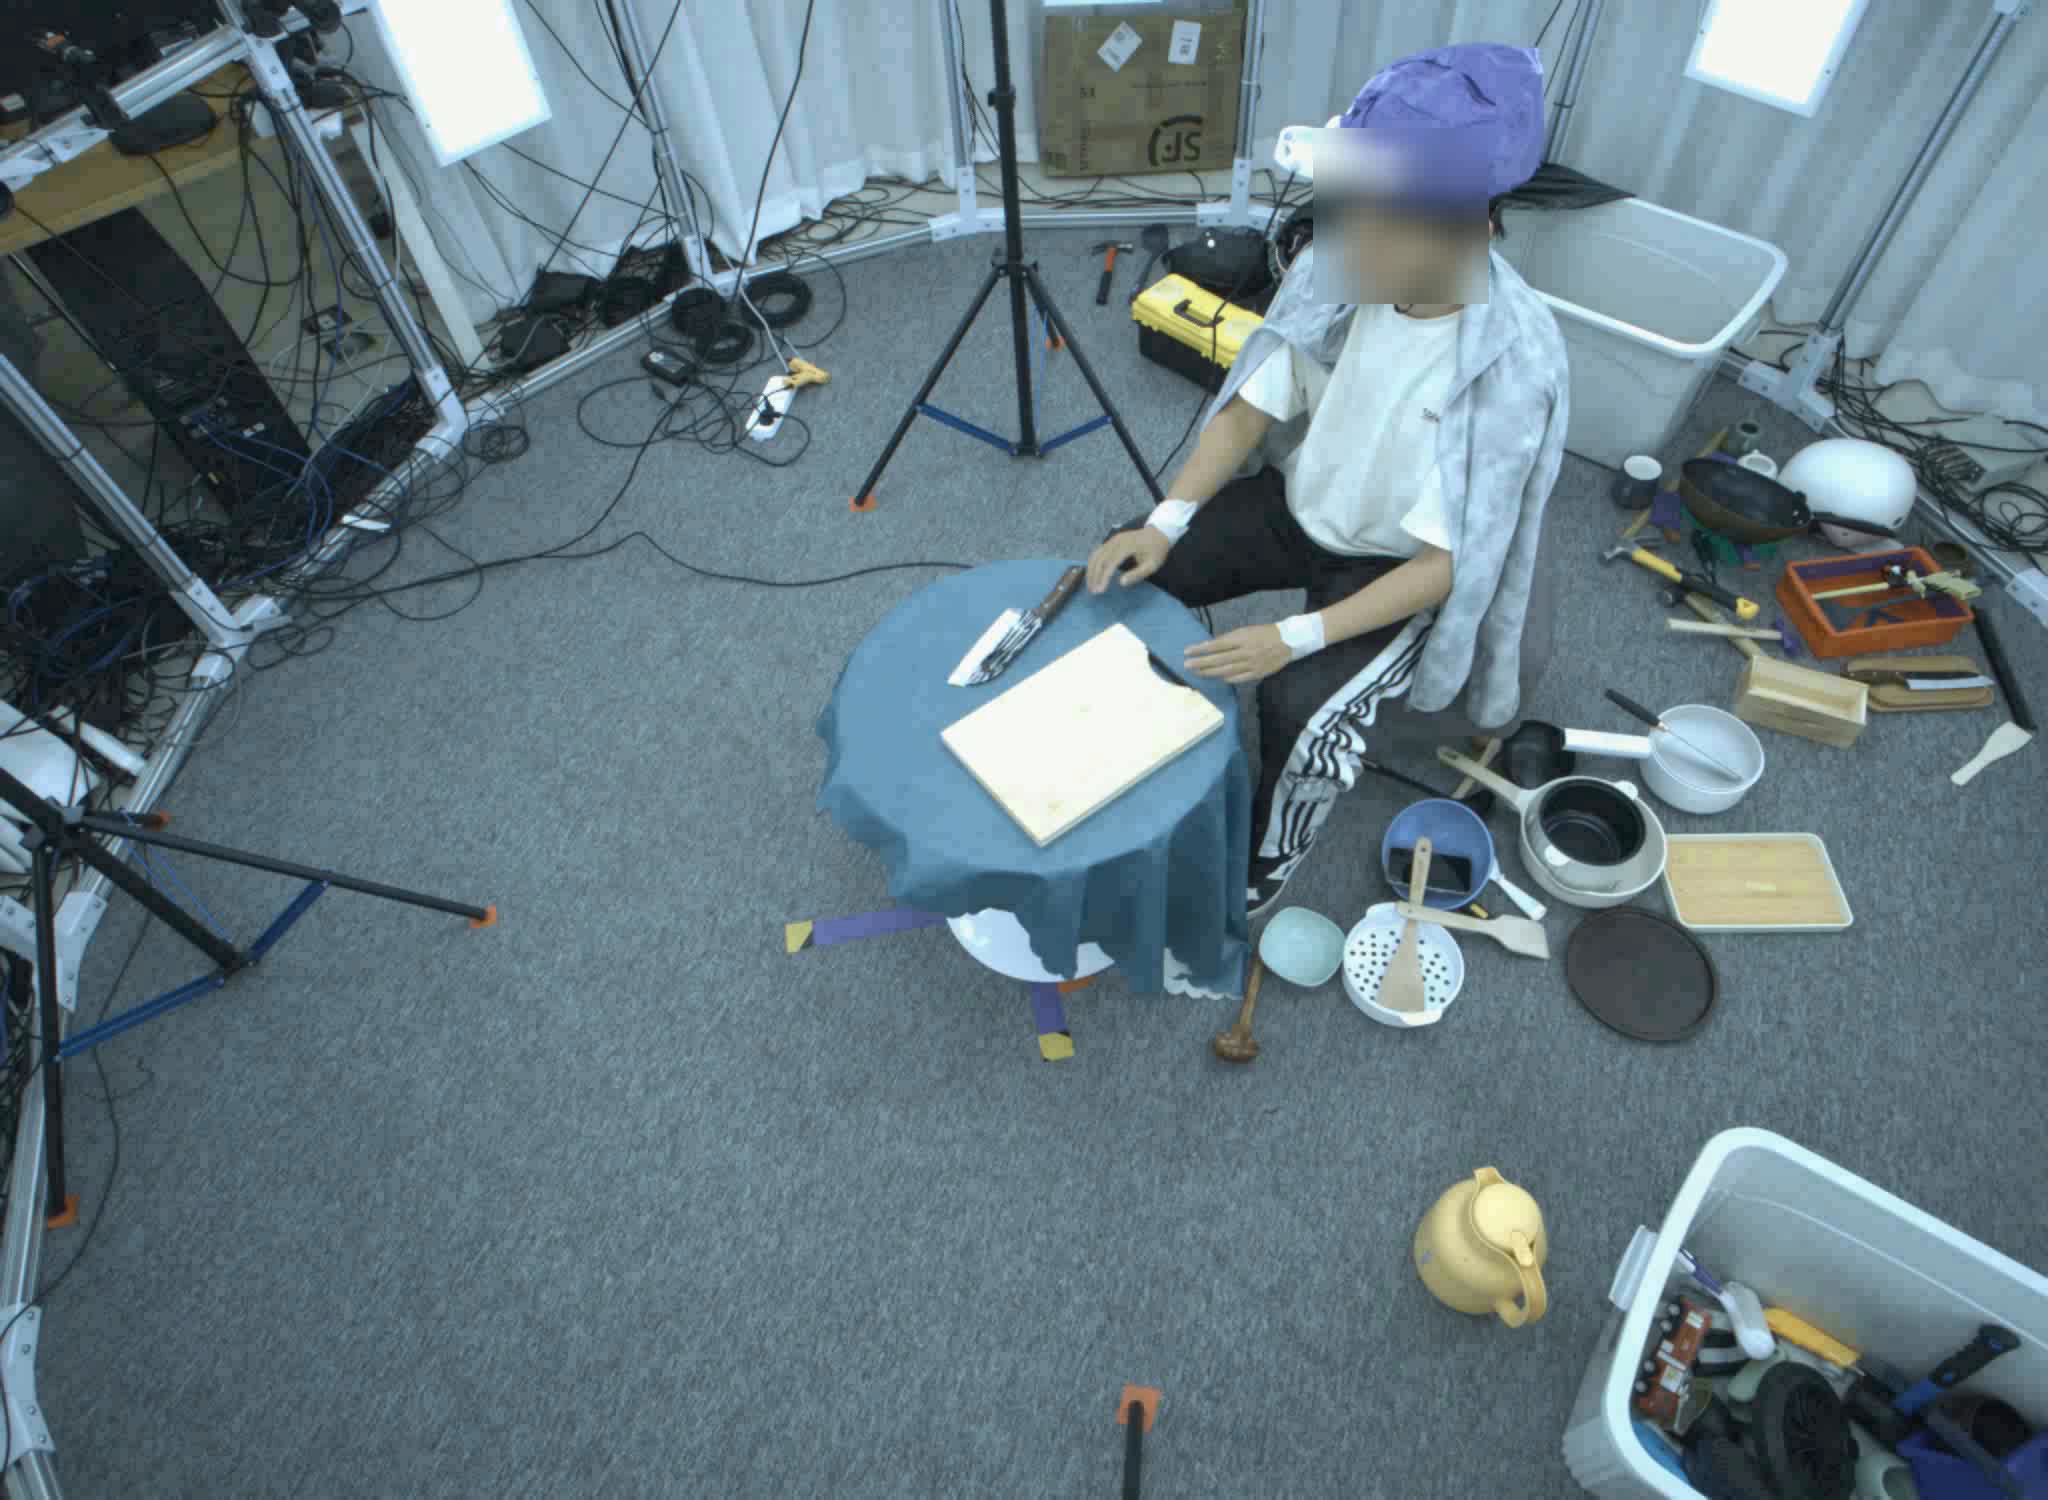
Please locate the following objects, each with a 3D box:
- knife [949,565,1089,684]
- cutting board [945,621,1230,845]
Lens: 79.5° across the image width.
[{"bbox_3d":[-0.007,-0.198,1.918,0.067,0.024,0.301,30,64,23],"label":"knife"},{"bbox_3d":[0.090,-0.035,1.801,0.351,0.024,0.246,-34,61,-20],"label":"cutting board"}]
